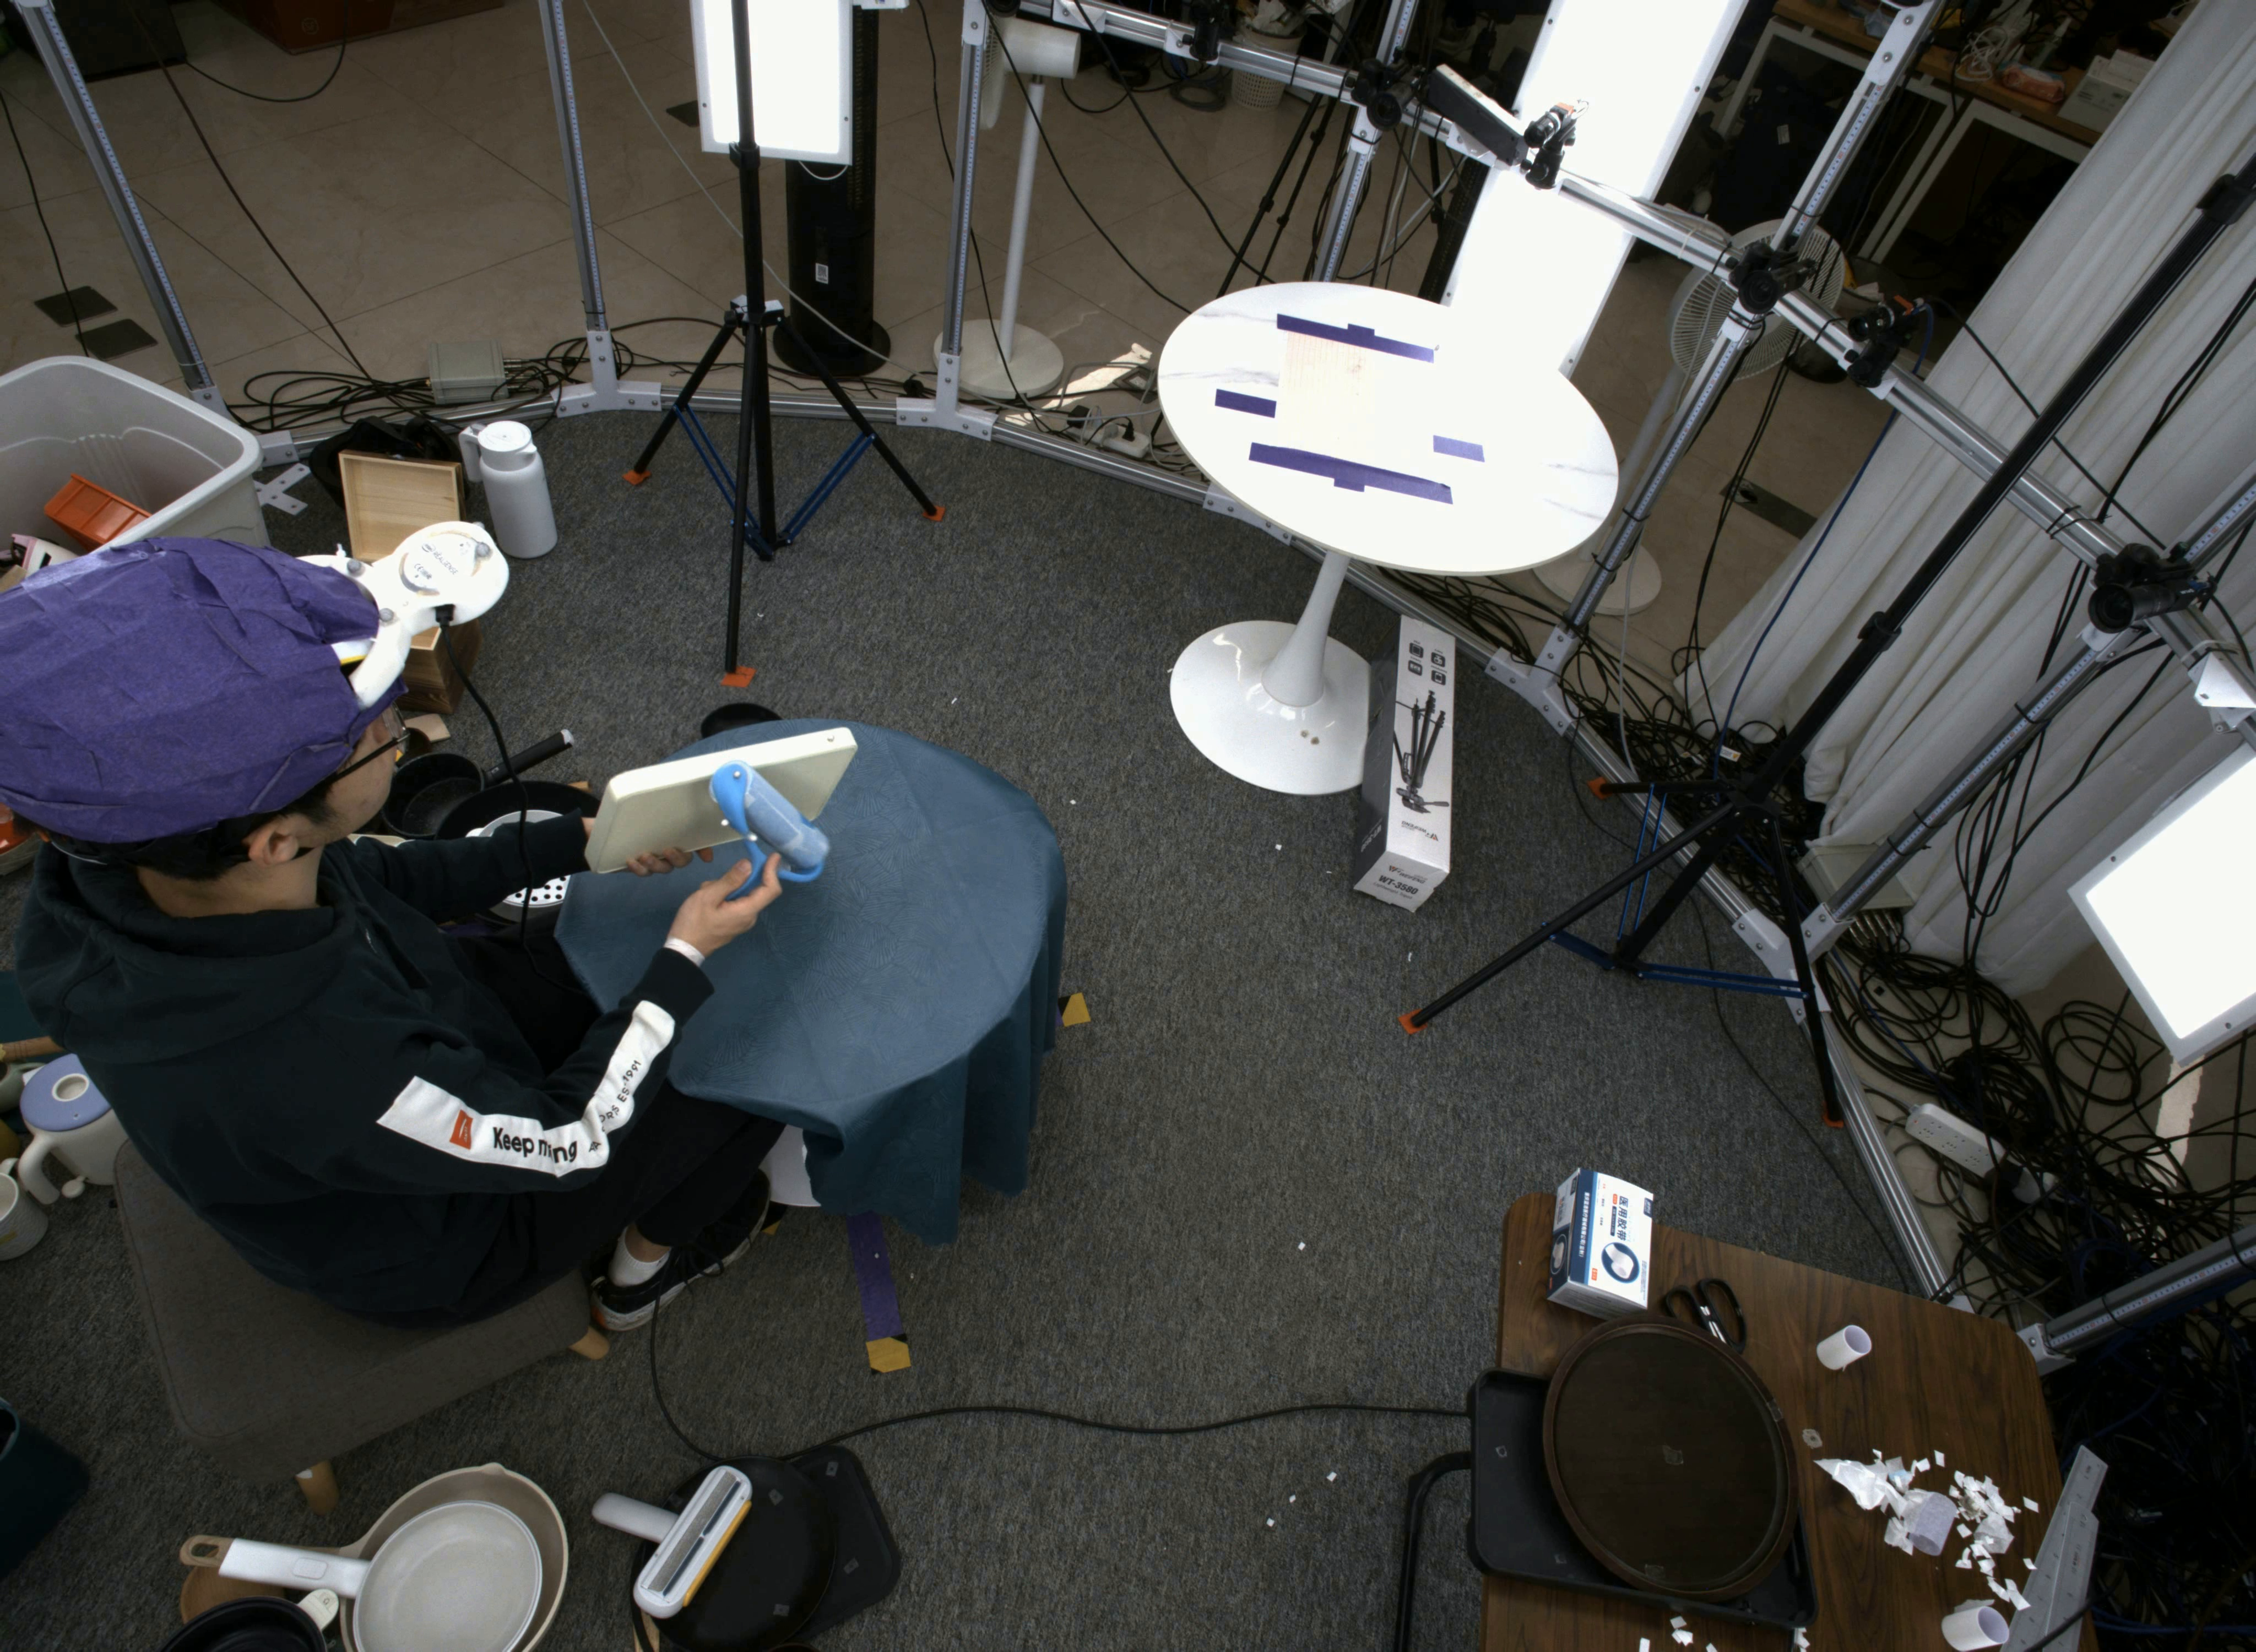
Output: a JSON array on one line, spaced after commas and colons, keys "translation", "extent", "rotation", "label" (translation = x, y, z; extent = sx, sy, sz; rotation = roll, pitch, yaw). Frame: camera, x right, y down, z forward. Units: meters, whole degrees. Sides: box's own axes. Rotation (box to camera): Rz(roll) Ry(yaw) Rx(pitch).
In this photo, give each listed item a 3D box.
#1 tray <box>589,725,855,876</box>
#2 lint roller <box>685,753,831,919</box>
[{"translation": [-0.478, -0.032, 1.514], "extent": [0.303, 0.191, 0.027], "rotation": [-17, 70, -39], "label": "tray"}, {"translation": [-0.435, 0.034, 1.477], "extent": [0.066, 0.235, 0.180], "rotation": [23, 78, 22], "label": "lint roller"}]
